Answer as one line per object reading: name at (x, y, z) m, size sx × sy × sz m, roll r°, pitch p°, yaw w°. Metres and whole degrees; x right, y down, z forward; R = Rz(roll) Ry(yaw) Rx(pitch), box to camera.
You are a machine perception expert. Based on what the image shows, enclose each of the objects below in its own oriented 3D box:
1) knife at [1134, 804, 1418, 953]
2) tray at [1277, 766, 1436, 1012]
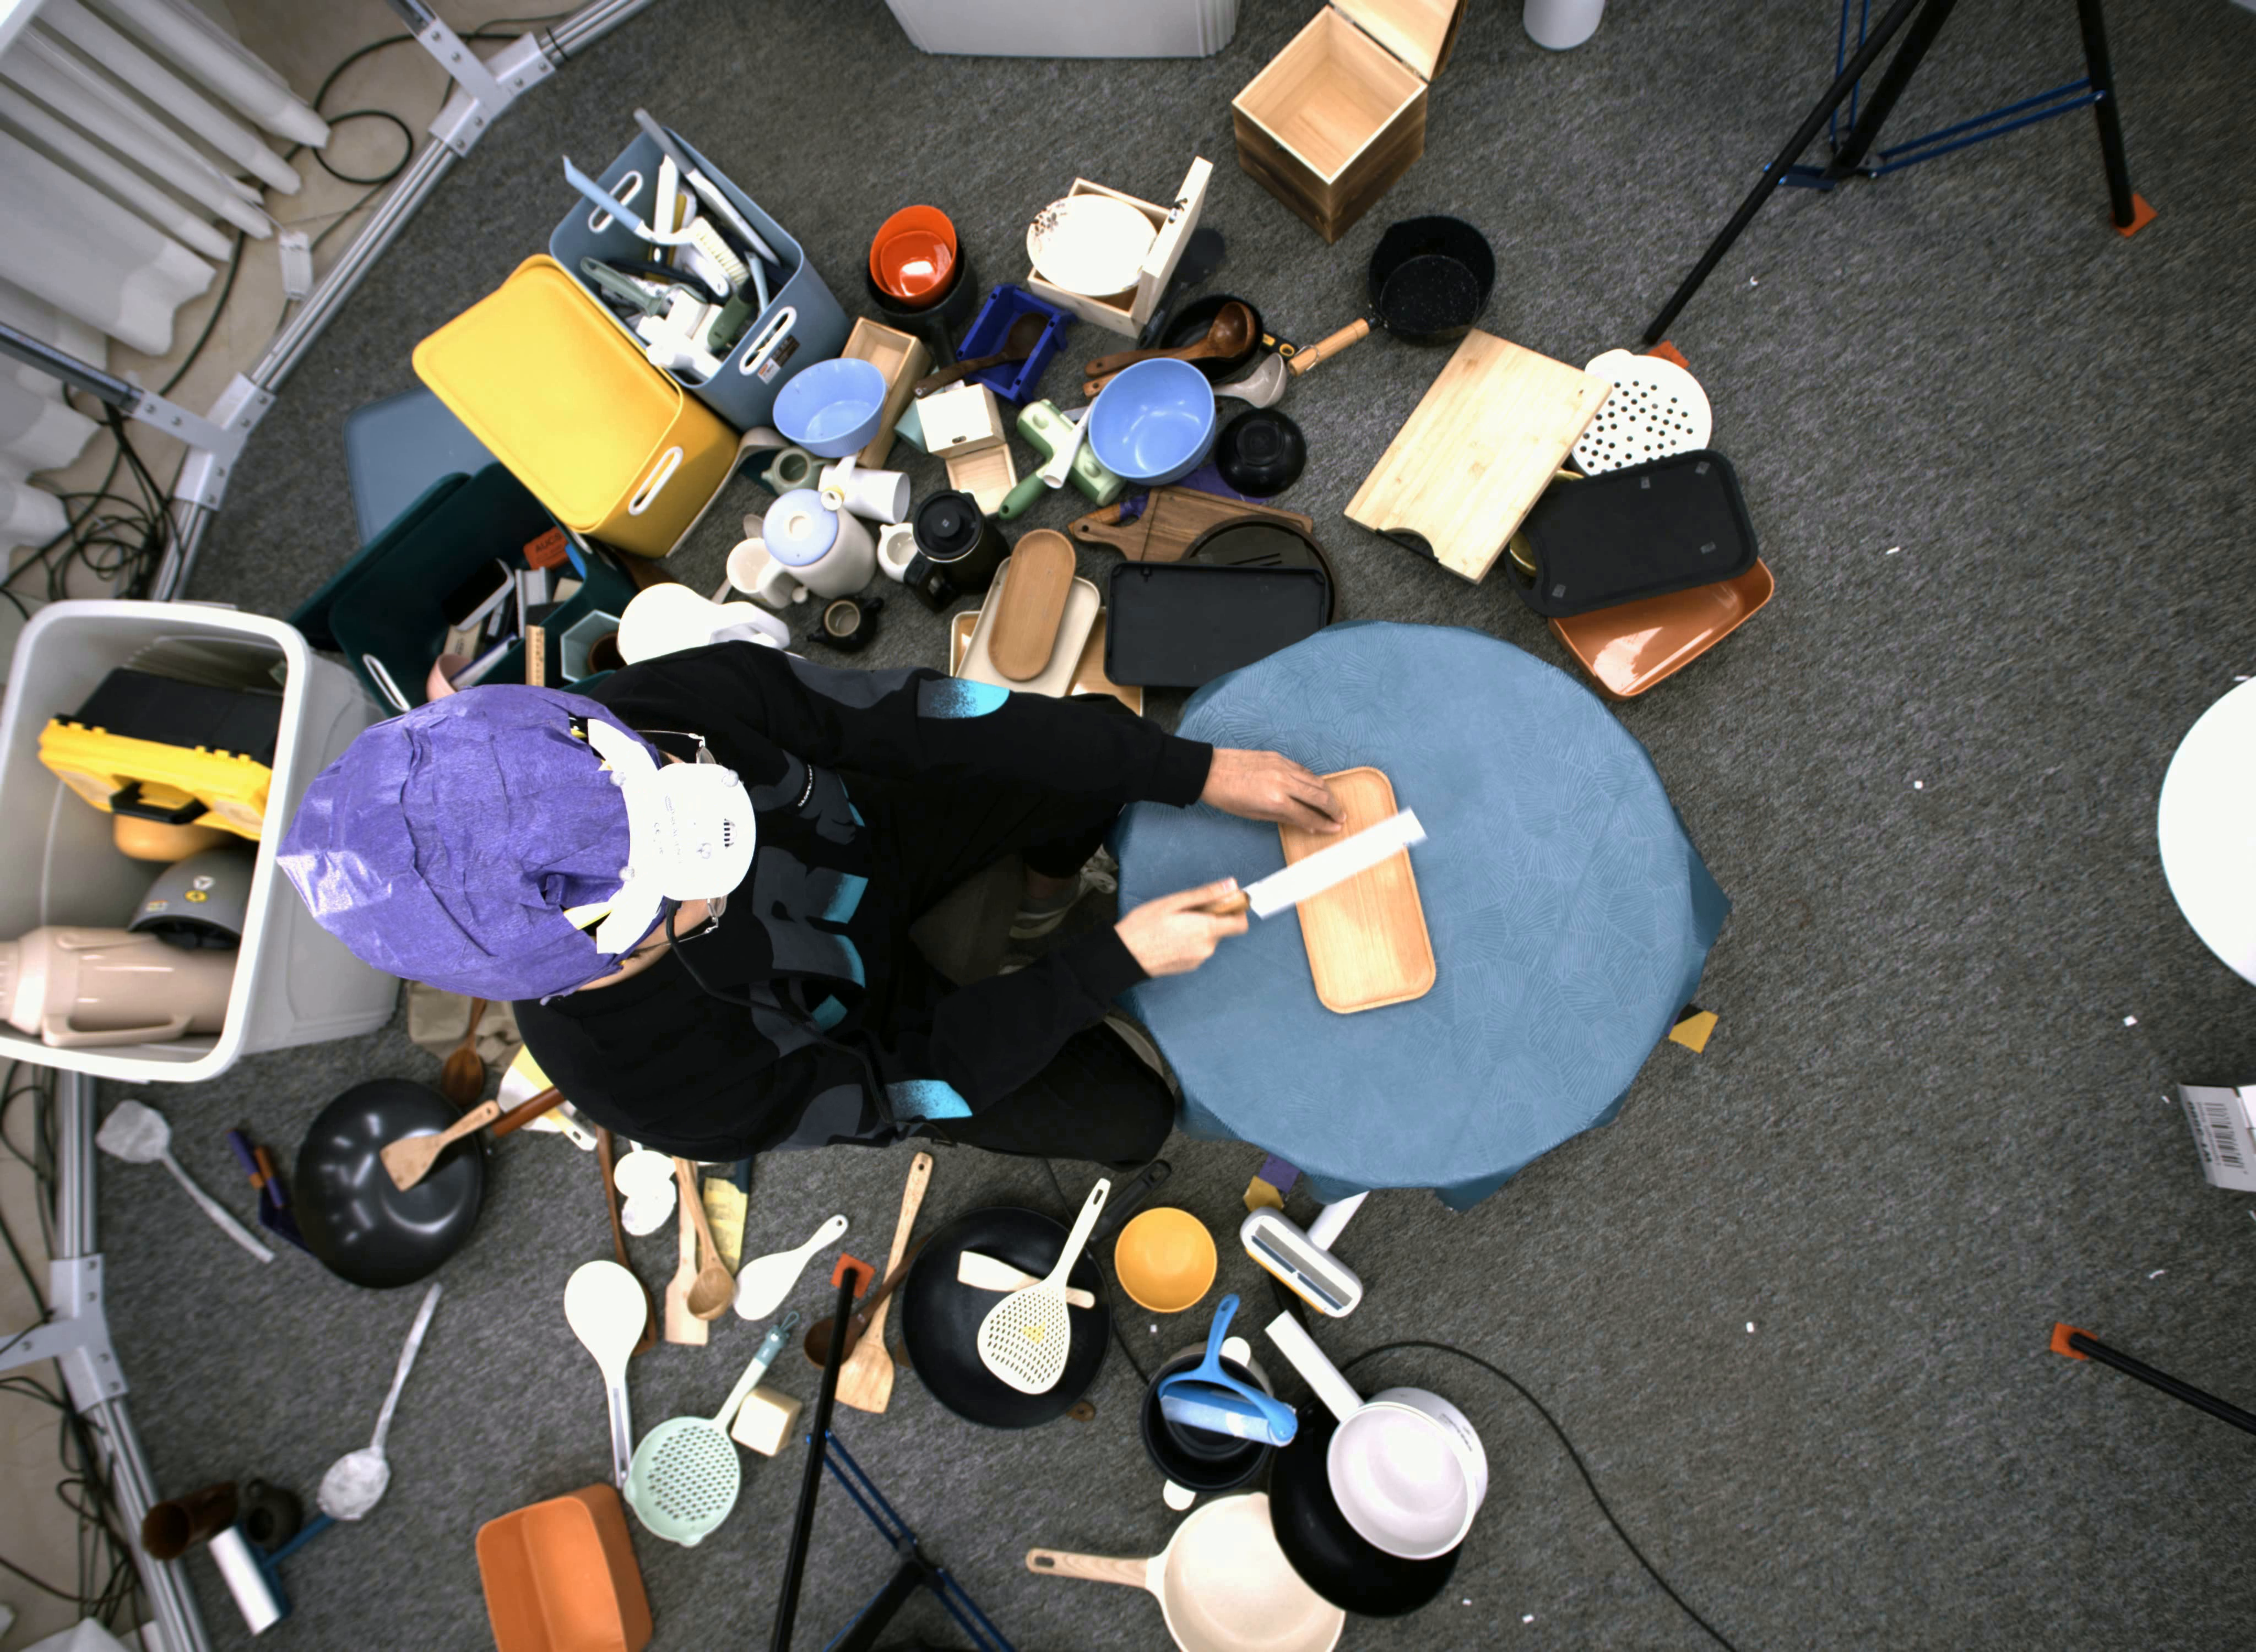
knife at (0.152, 0.057, 1.397) m, size 0.308 × 0.093 × 0.020 m, roll -28°, pitch 67°, yaw 13°
tray at (0.240, 0.065, 1.458) m, size 0.131 × 0.023 × 0.249 m, roll -12°, pitch 84°, yaw 8°
